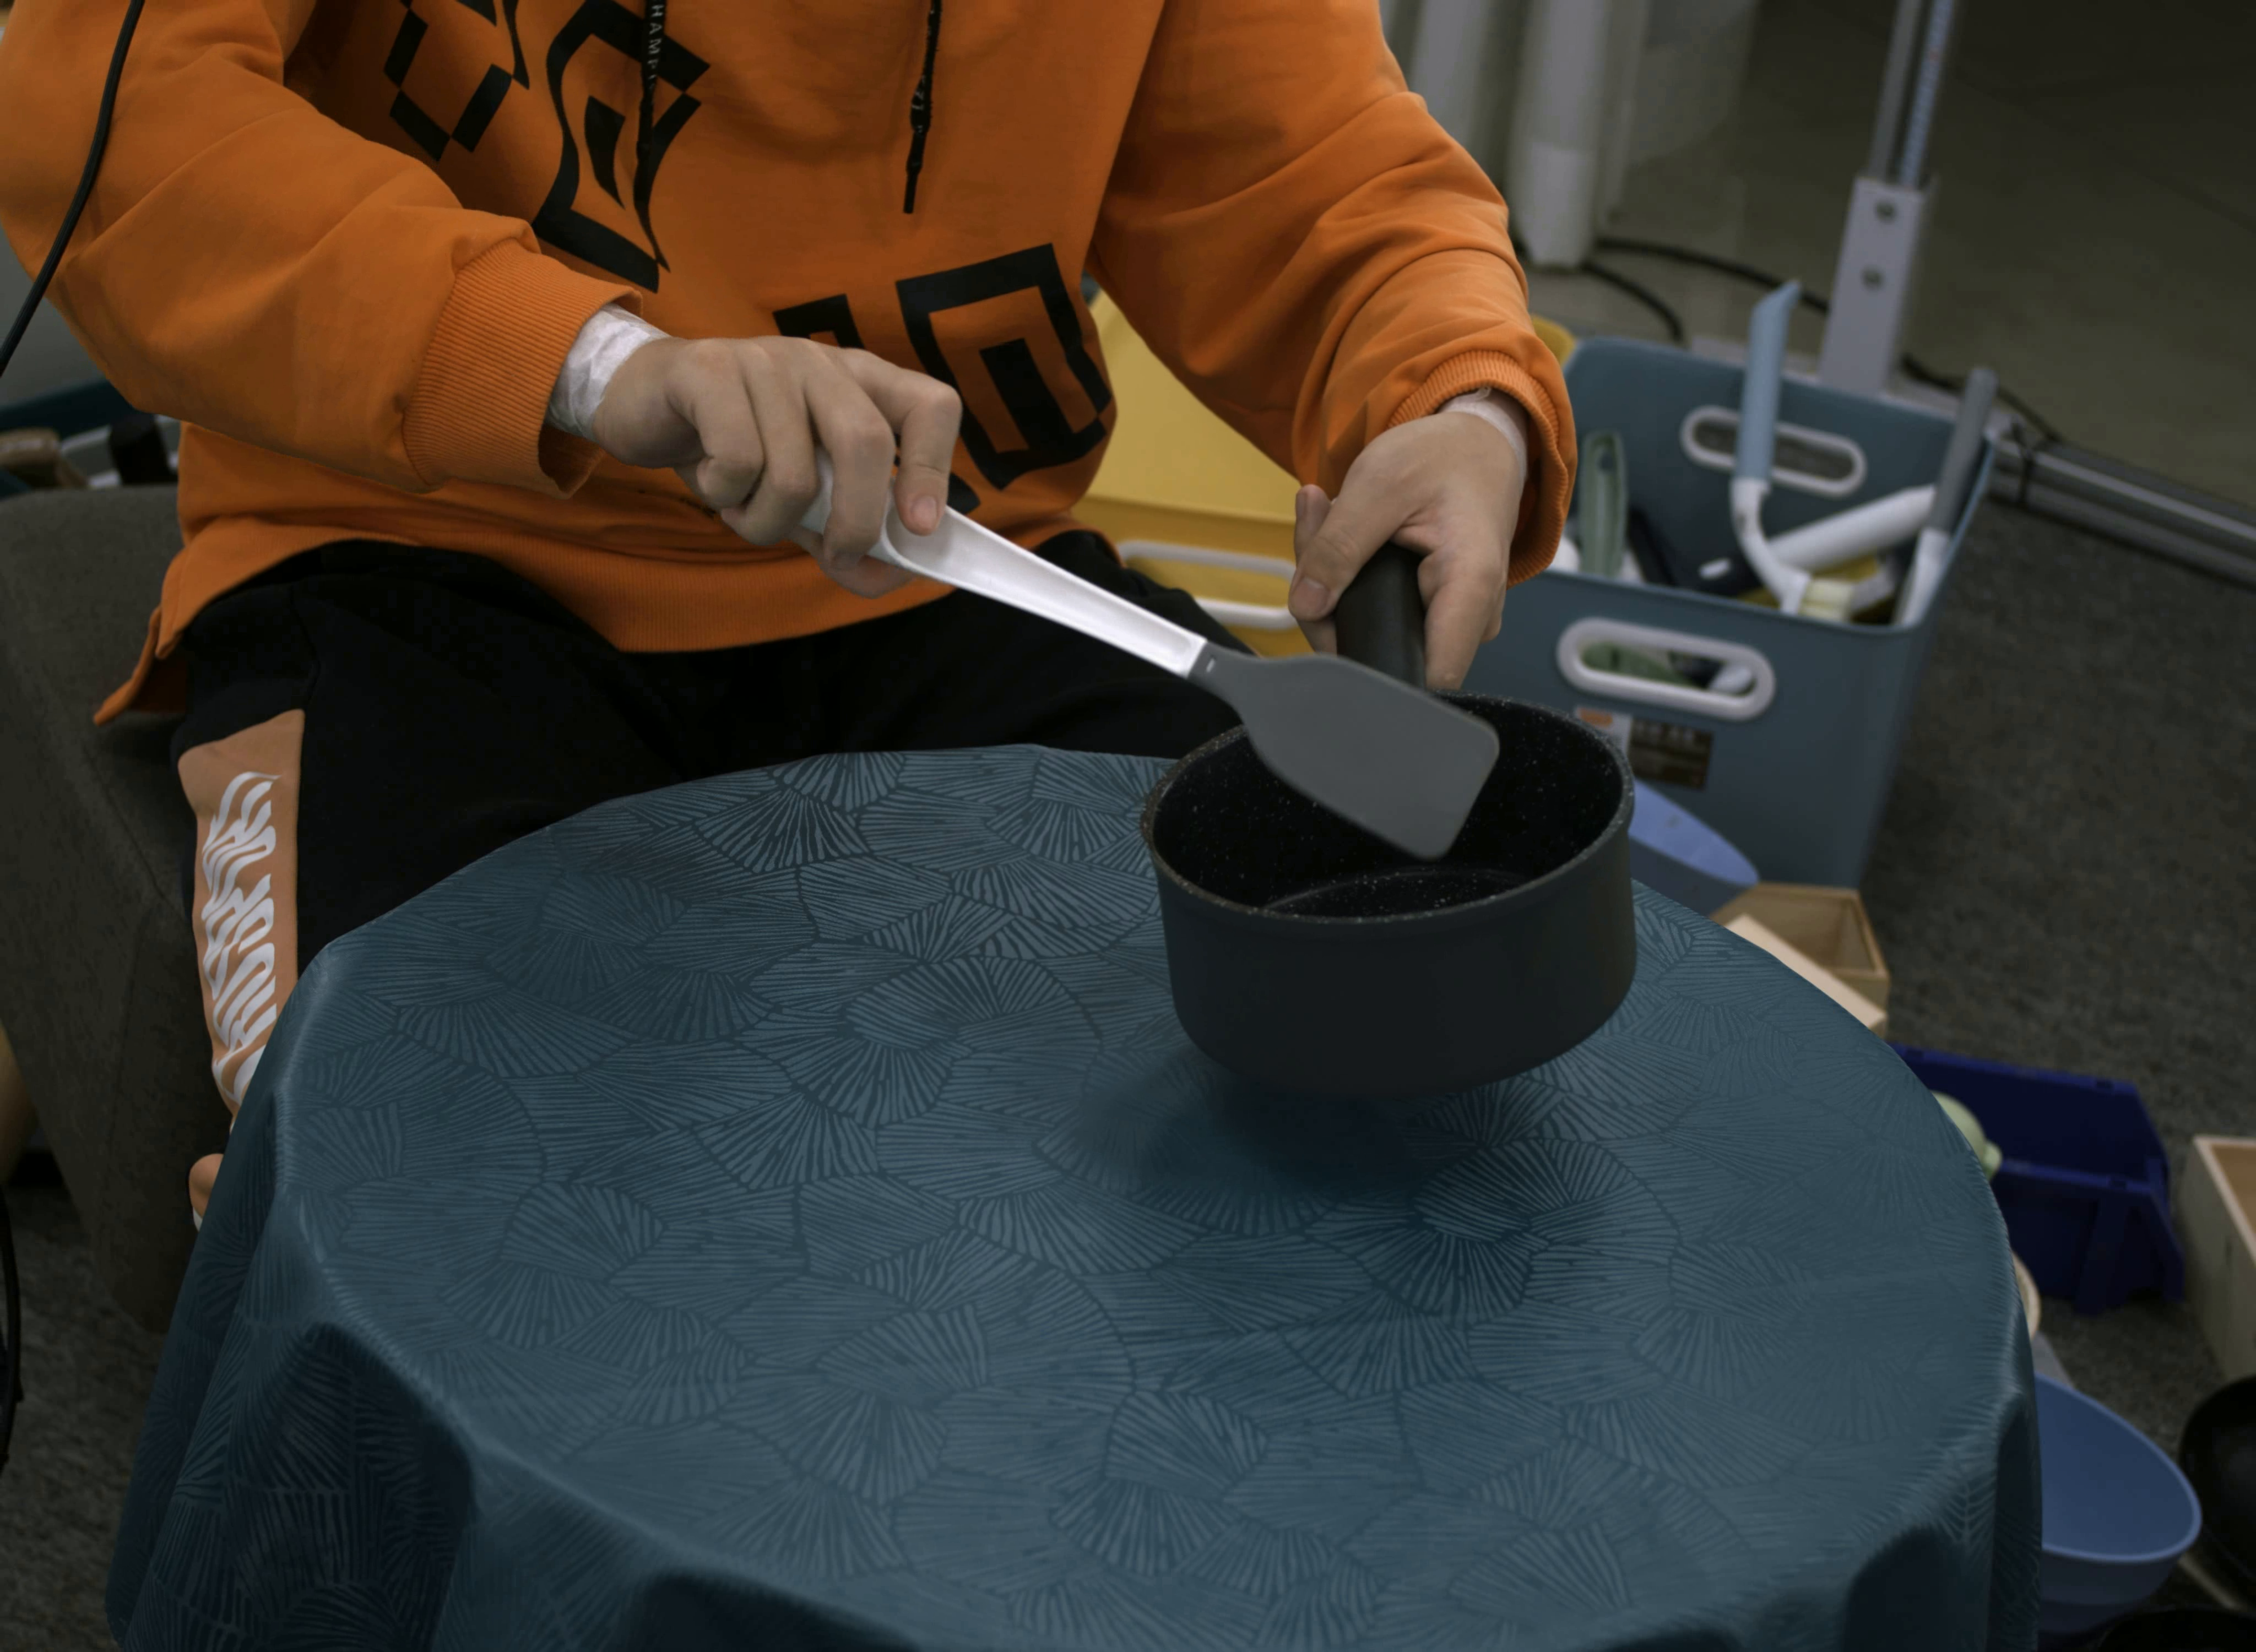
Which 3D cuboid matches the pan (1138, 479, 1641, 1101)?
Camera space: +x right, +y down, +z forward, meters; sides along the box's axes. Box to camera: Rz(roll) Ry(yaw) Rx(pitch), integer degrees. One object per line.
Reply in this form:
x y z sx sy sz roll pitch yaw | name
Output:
0.097 -0.016 1.911 0.172 0.086 0.330 -4 29 6 | pan

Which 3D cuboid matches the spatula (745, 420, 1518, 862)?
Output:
-0.002 -0.070 1.850 0.288 0.032 0.059 25 74 14 | spatula
